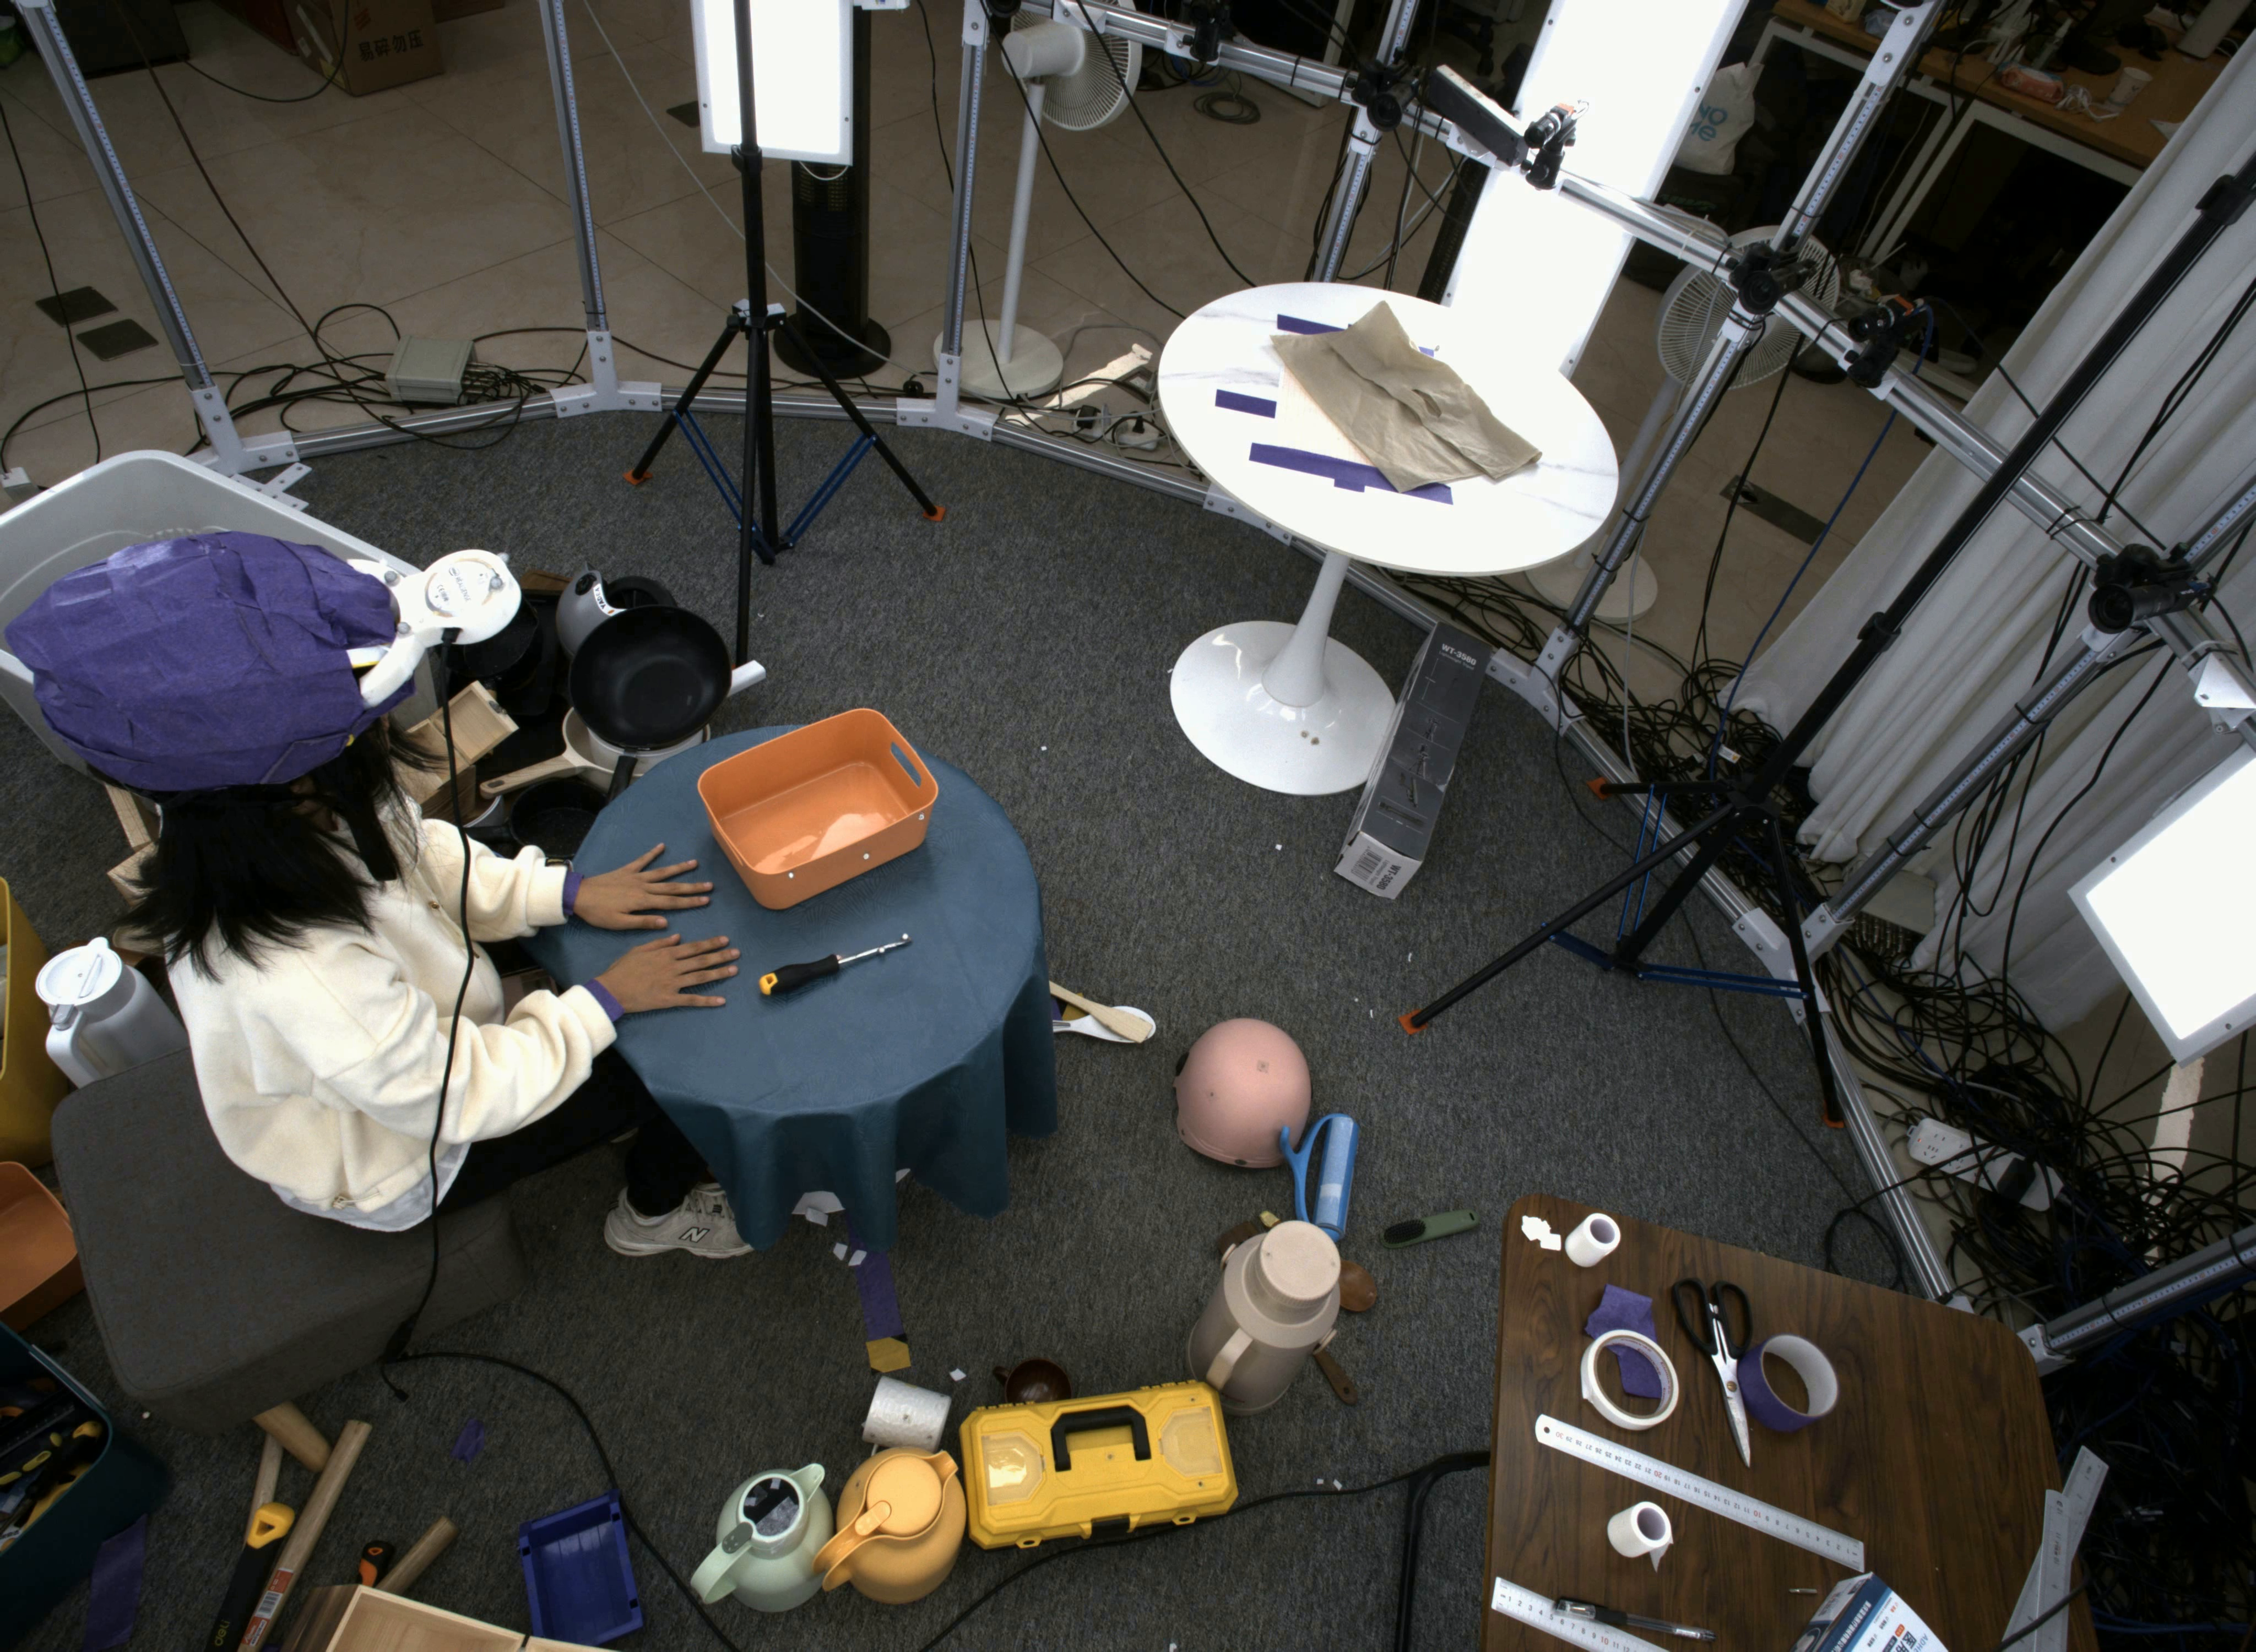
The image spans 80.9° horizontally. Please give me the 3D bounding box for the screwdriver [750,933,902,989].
[{"bbox_3d":[-0.368,0.156,1.587,0.199,0.032,0.030,-18,58,-36],"label":"screwdriver"}]

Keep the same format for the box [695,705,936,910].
[{"bbox_3d":[-0.402,-0.024,1.675,0.274,0.104,0.195,-28,65,-30],"label":"box"}]
